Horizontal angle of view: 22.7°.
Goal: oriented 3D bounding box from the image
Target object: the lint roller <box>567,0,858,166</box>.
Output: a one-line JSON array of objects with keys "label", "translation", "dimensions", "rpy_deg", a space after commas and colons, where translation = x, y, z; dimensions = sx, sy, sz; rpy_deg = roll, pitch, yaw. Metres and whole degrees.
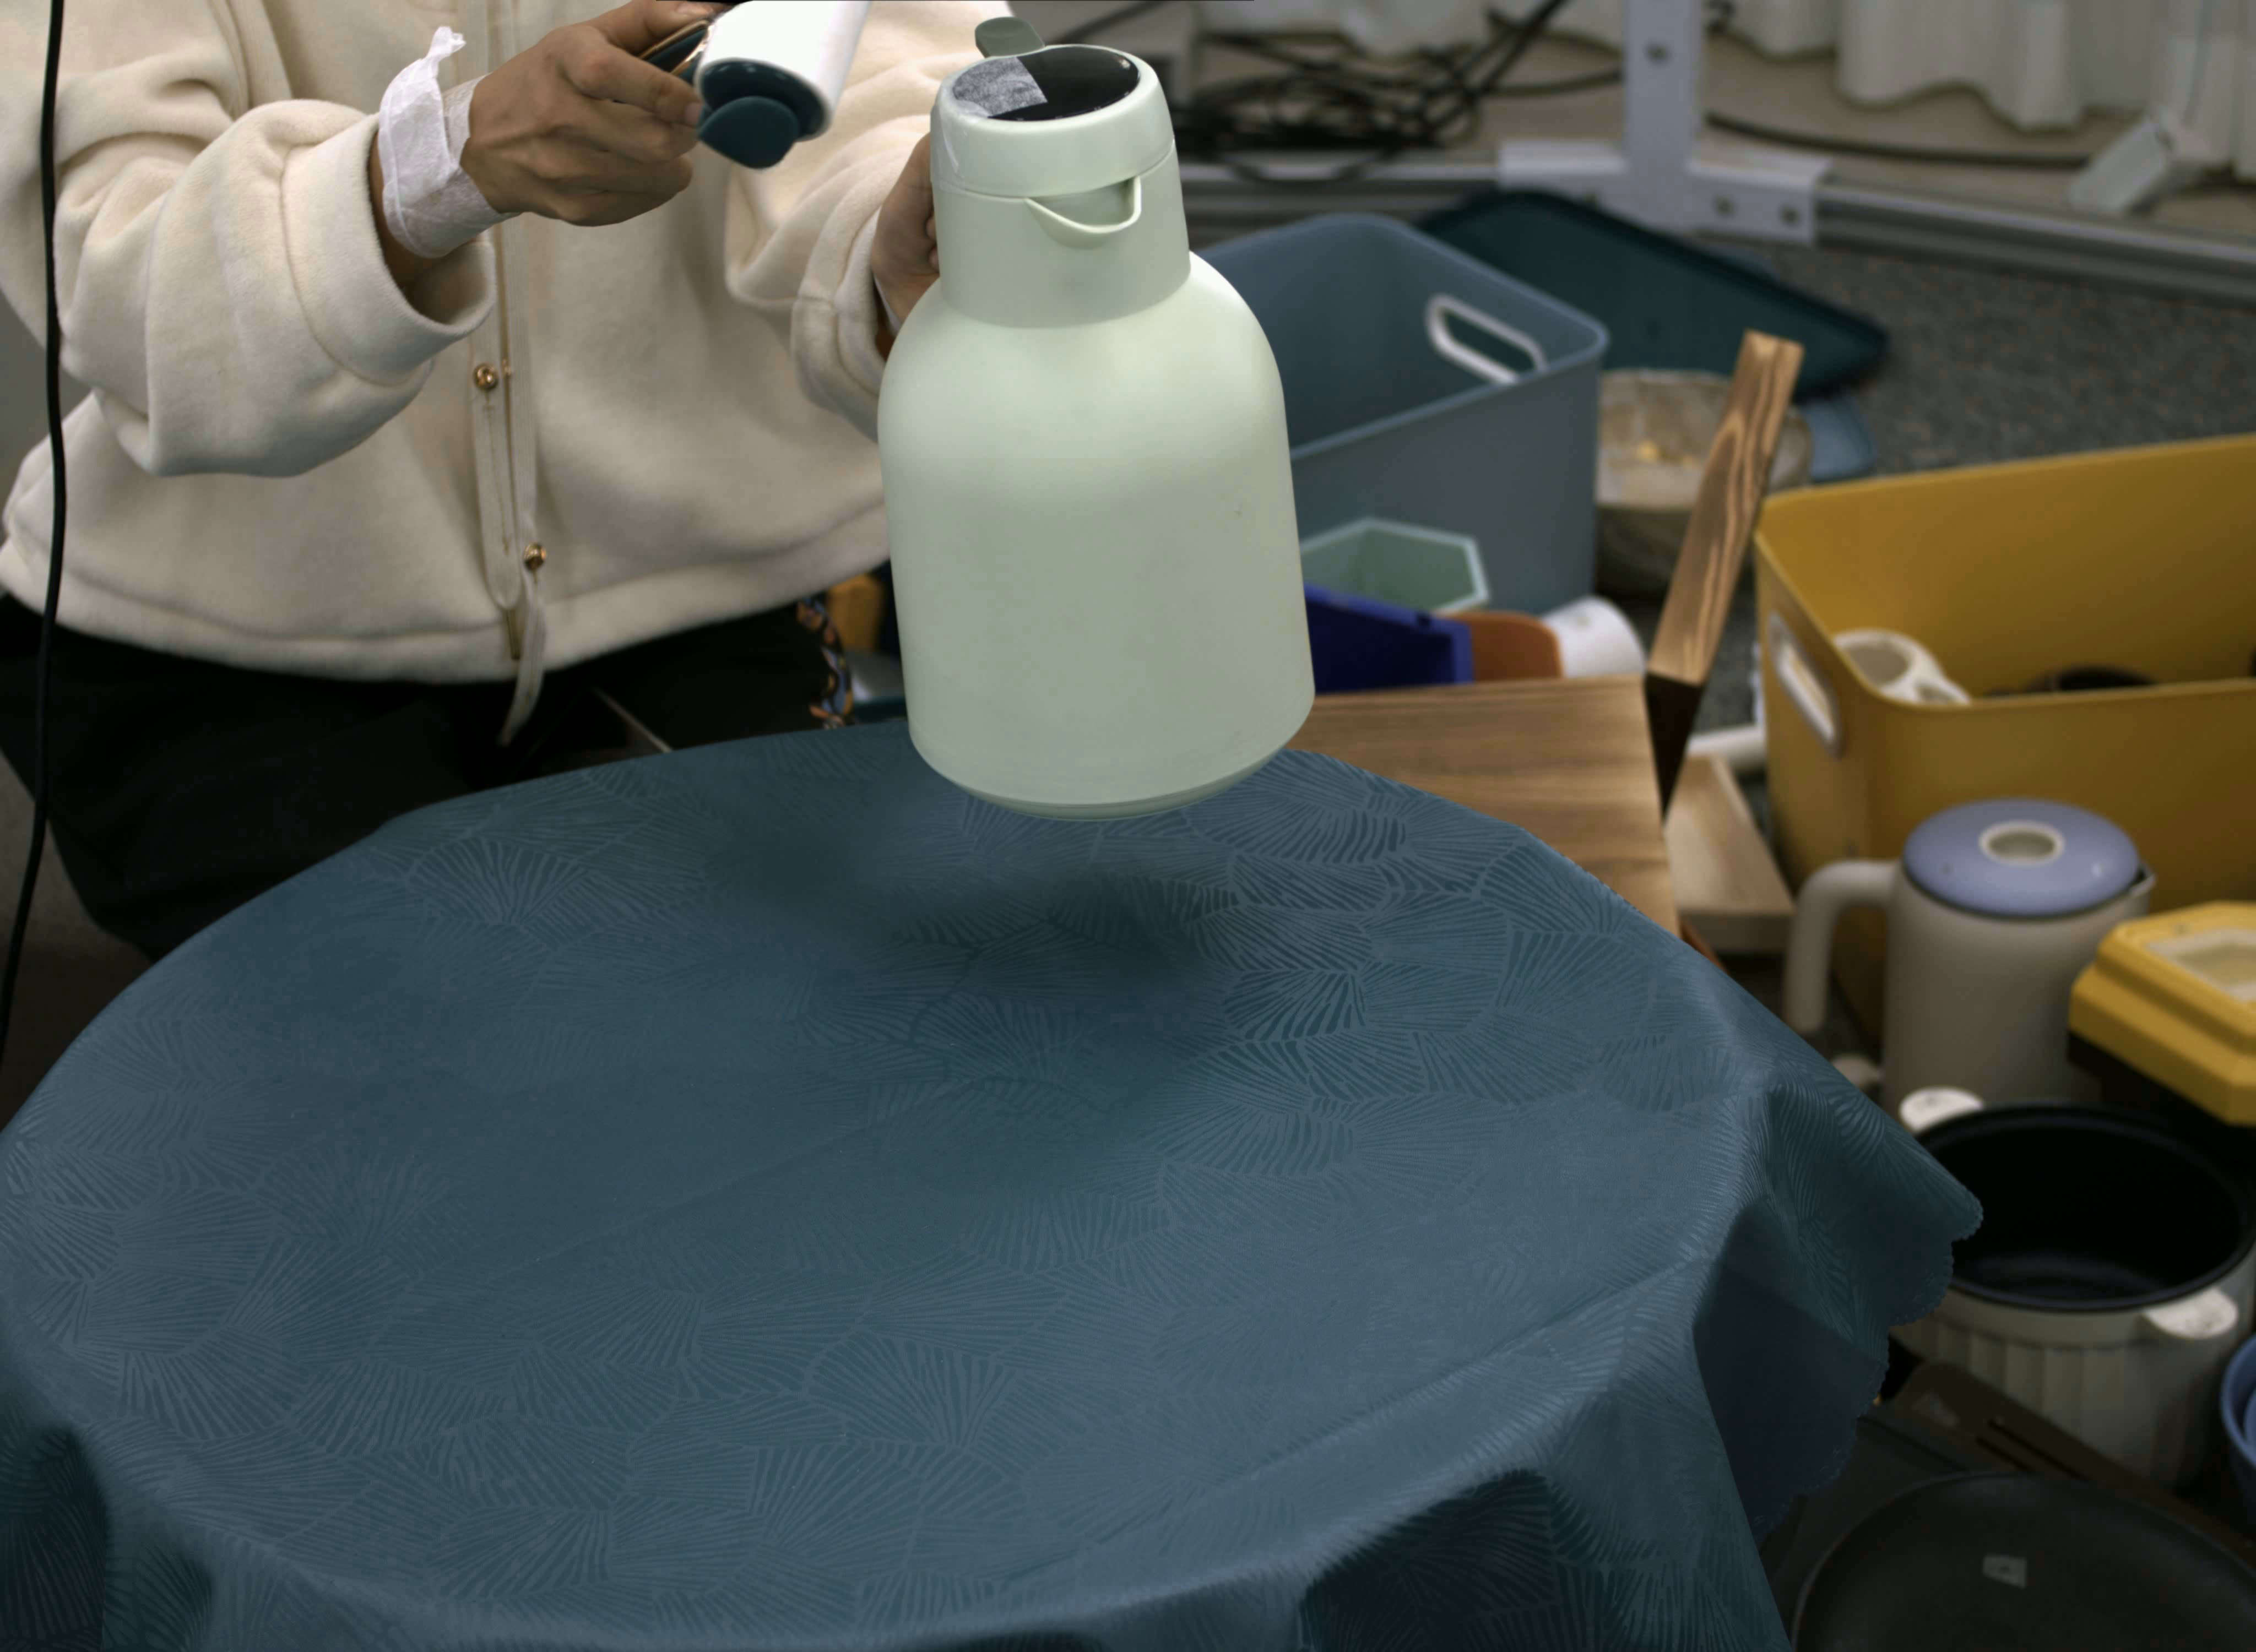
[{"label": "lint roller", "translation": [-0.153, -0.267, 1.914], "dimensions": [0.177, 0.048, 0.137], "rpy_deg": [-17, 48, 48]}]

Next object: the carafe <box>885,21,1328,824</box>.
[{"label": "carafe", "translation": [-0.018, -0.145, 1.958], "dimensions": [0.144, 0.254, 0.188], "rpy_deg": [-13, 25, -11]}]
